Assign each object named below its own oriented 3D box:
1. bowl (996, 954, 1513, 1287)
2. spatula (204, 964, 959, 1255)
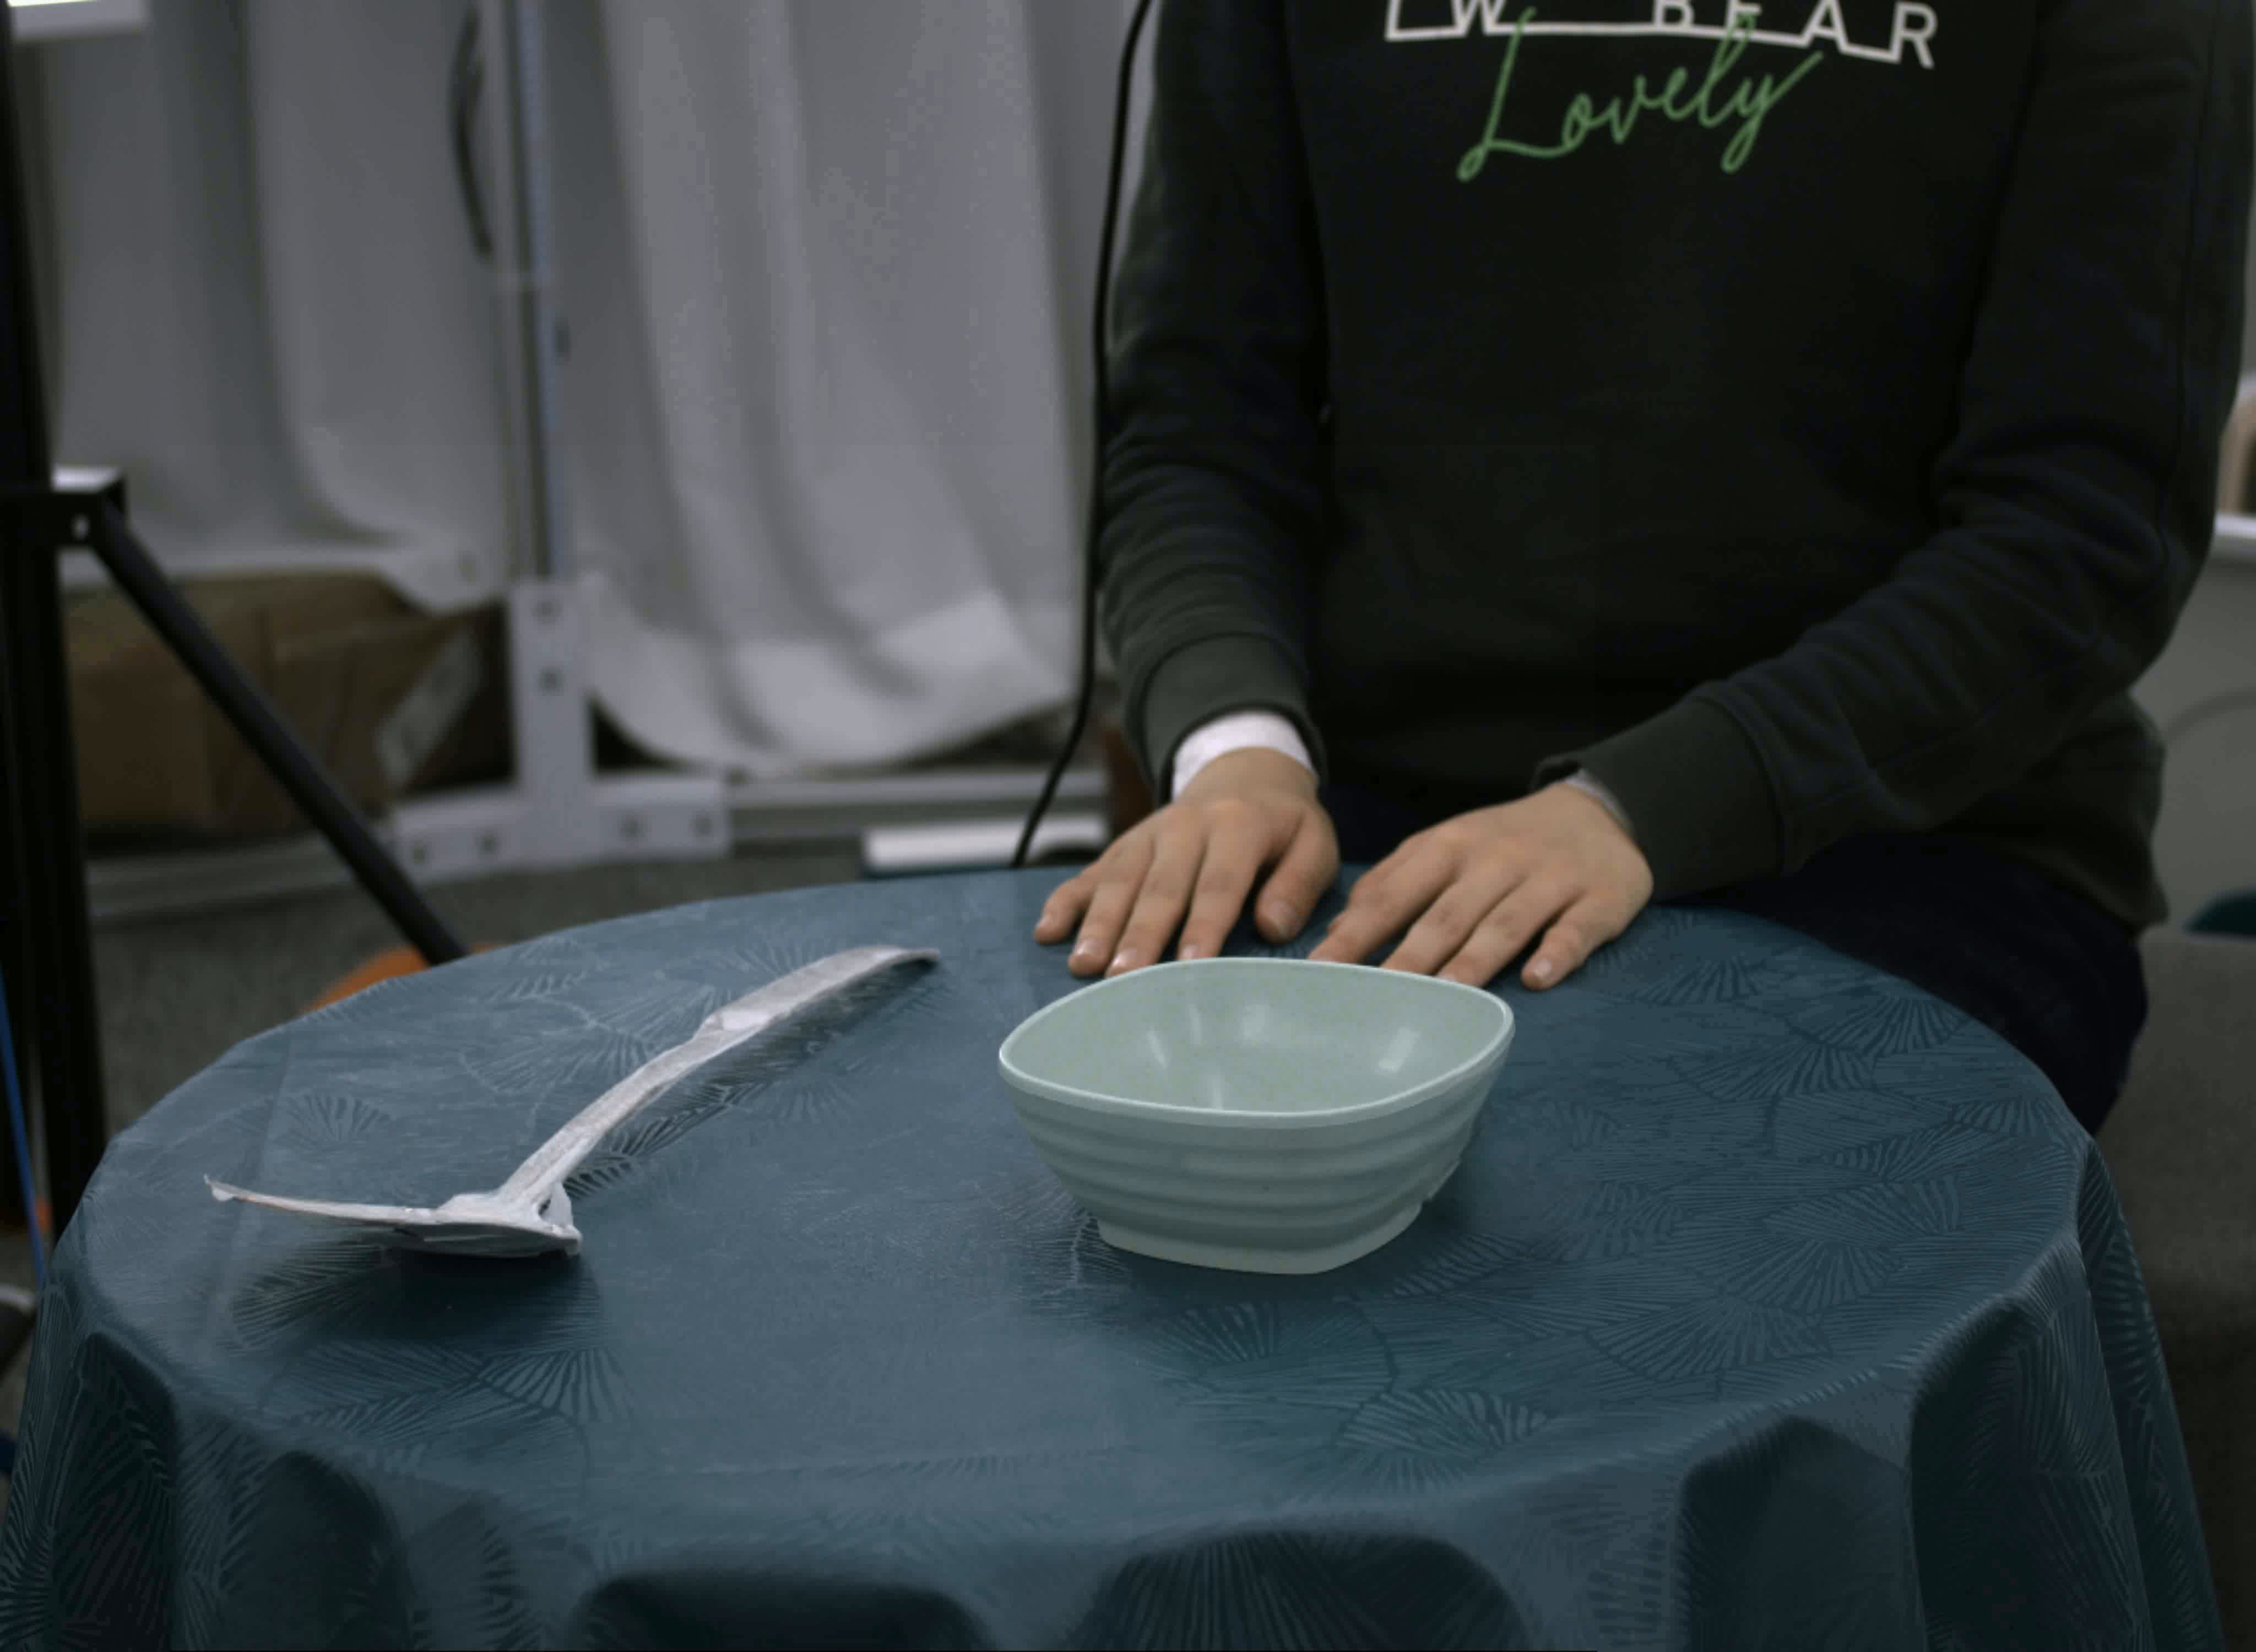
[{"bbox_3d":[0.037,0.088,1.525,0.150,0.058,0.152,-2,17,-1],"label":"bowl"},{"bbox_3d":[-0.144,0.076,1.623,0.100,0.045,0.359,3,17,26],"label":"spatula"}]
